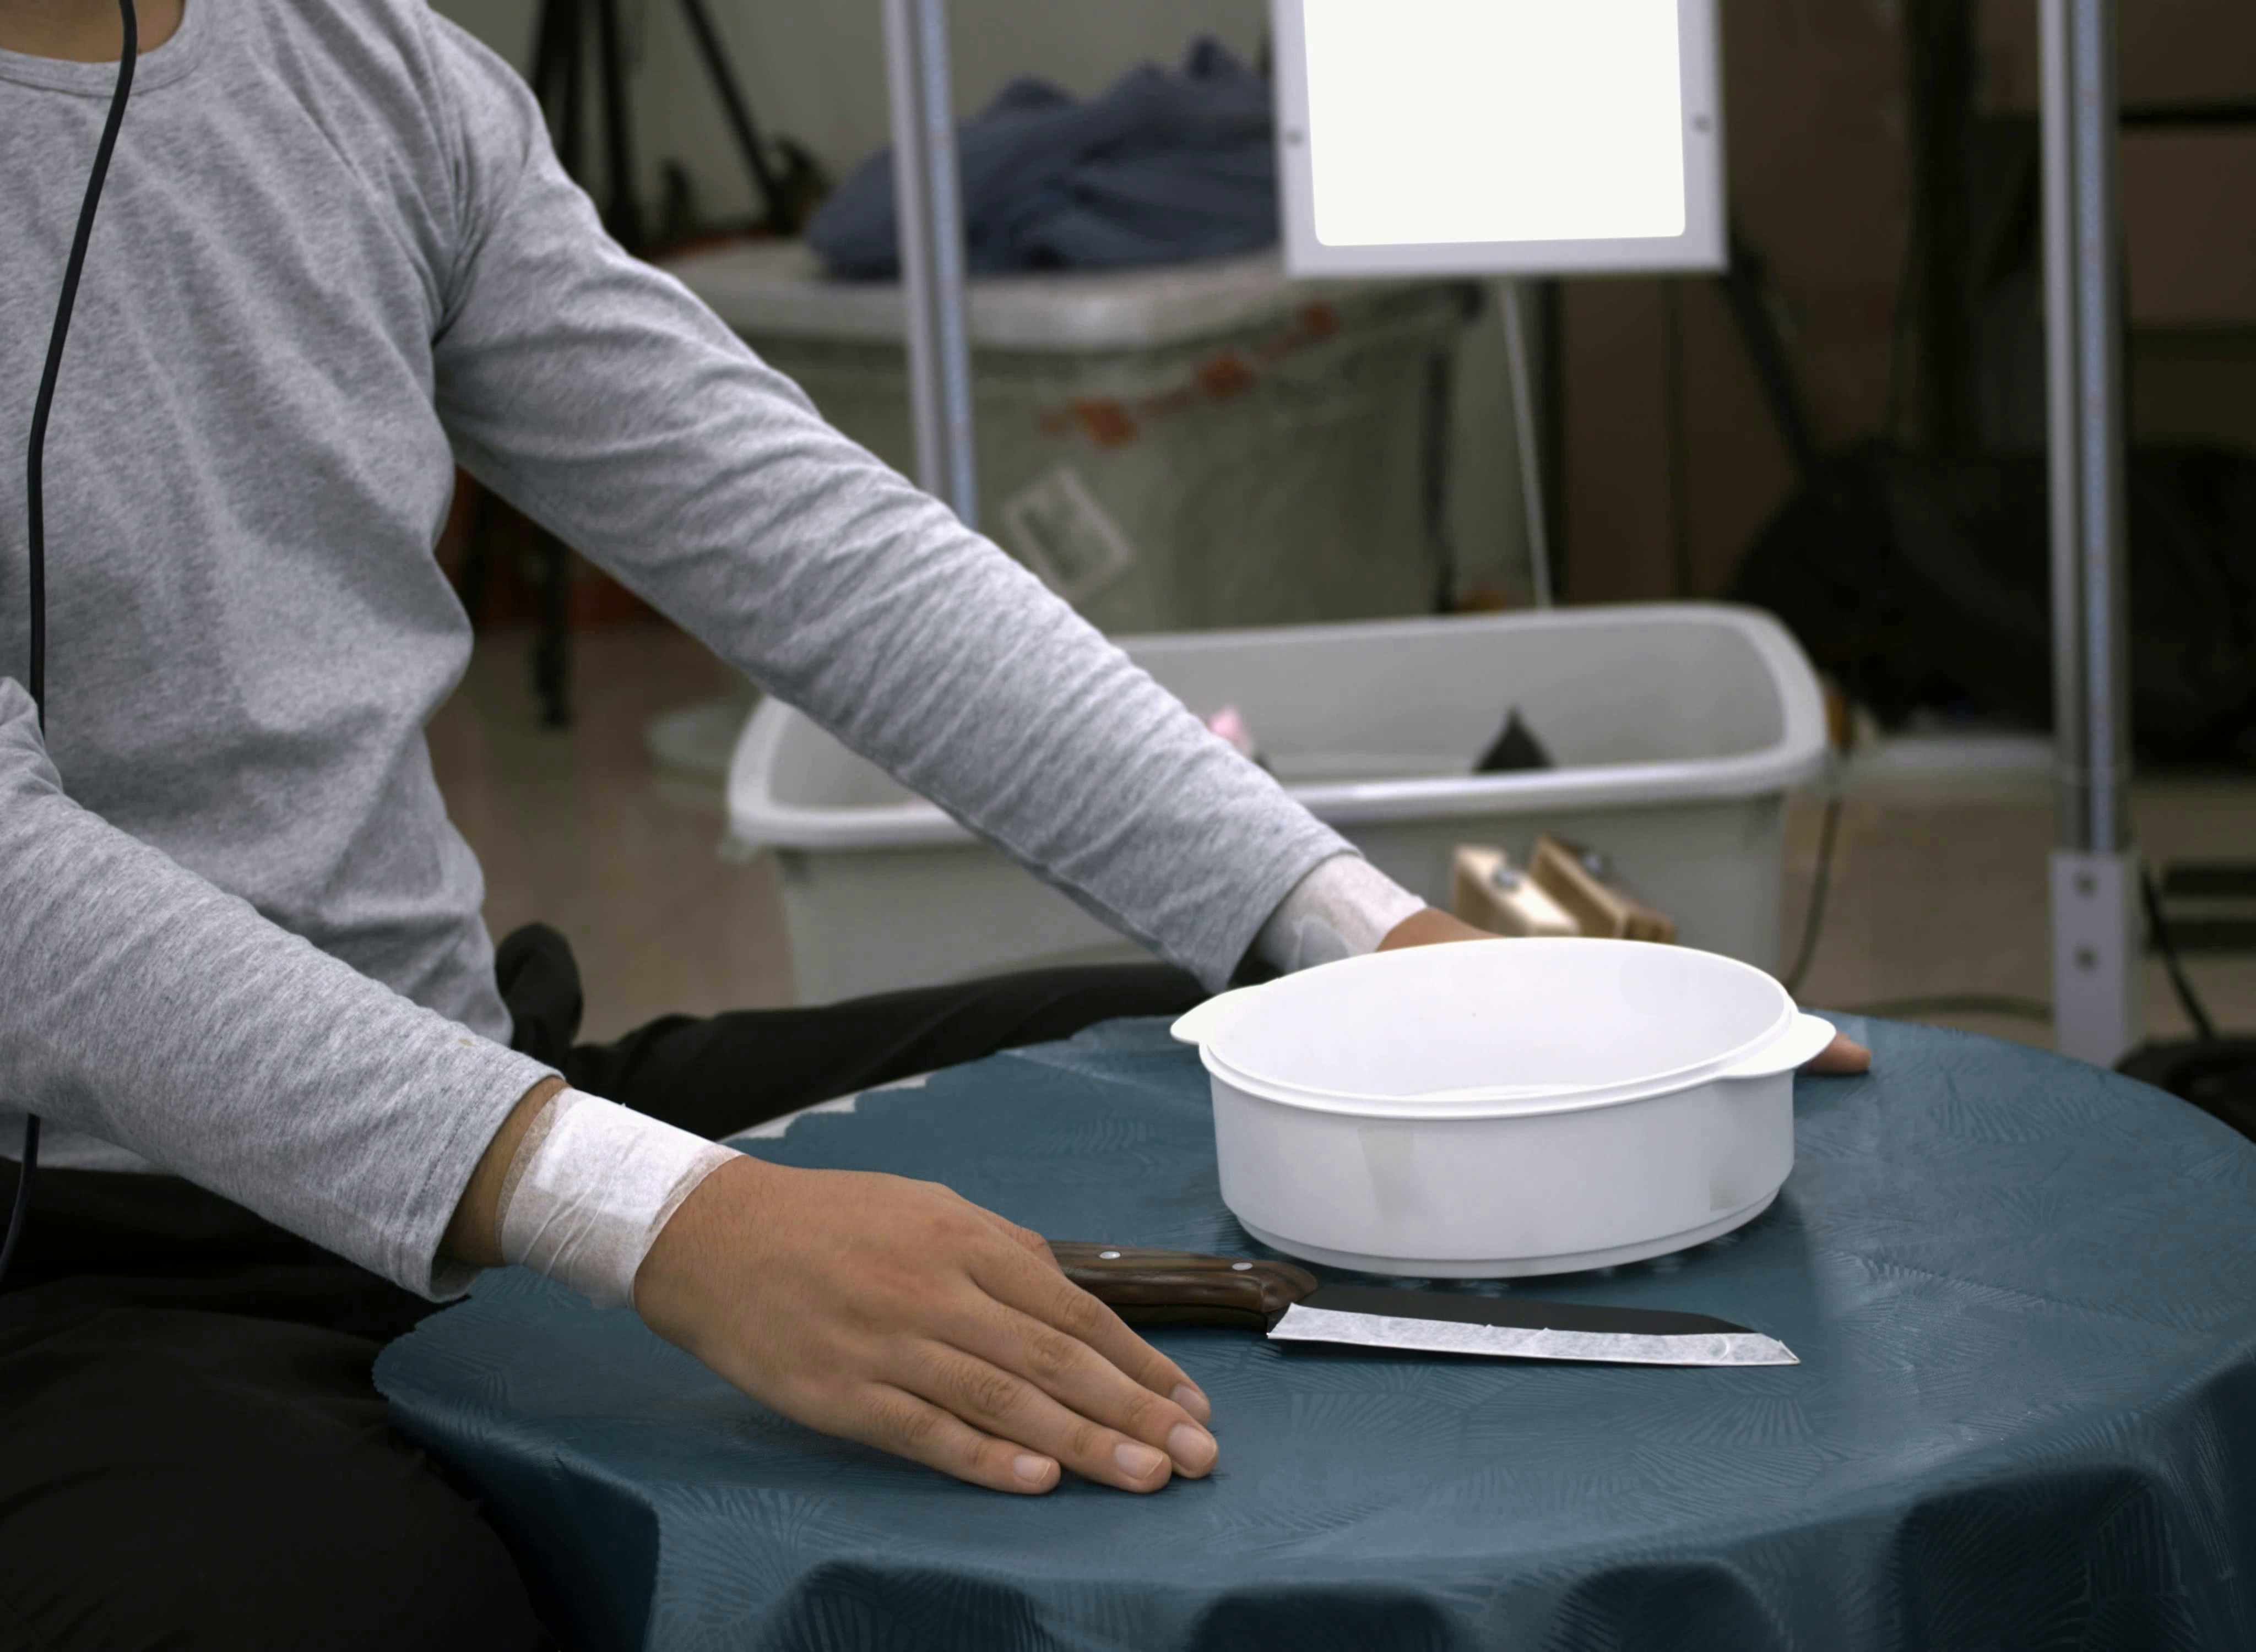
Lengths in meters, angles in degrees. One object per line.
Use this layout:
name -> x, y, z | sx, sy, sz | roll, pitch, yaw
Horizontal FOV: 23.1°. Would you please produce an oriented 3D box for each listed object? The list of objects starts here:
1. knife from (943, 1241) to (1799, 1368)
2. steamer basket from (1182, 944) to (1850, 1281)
knife -> 0.073, 0.153, 1.734 | 0.293, 0.020, 0.049 | 4, 21, 23
steamer basket -> 0.131, 0.095, 1.842 | 0.235, 0.069, 0.197 | 1, 14, 29
